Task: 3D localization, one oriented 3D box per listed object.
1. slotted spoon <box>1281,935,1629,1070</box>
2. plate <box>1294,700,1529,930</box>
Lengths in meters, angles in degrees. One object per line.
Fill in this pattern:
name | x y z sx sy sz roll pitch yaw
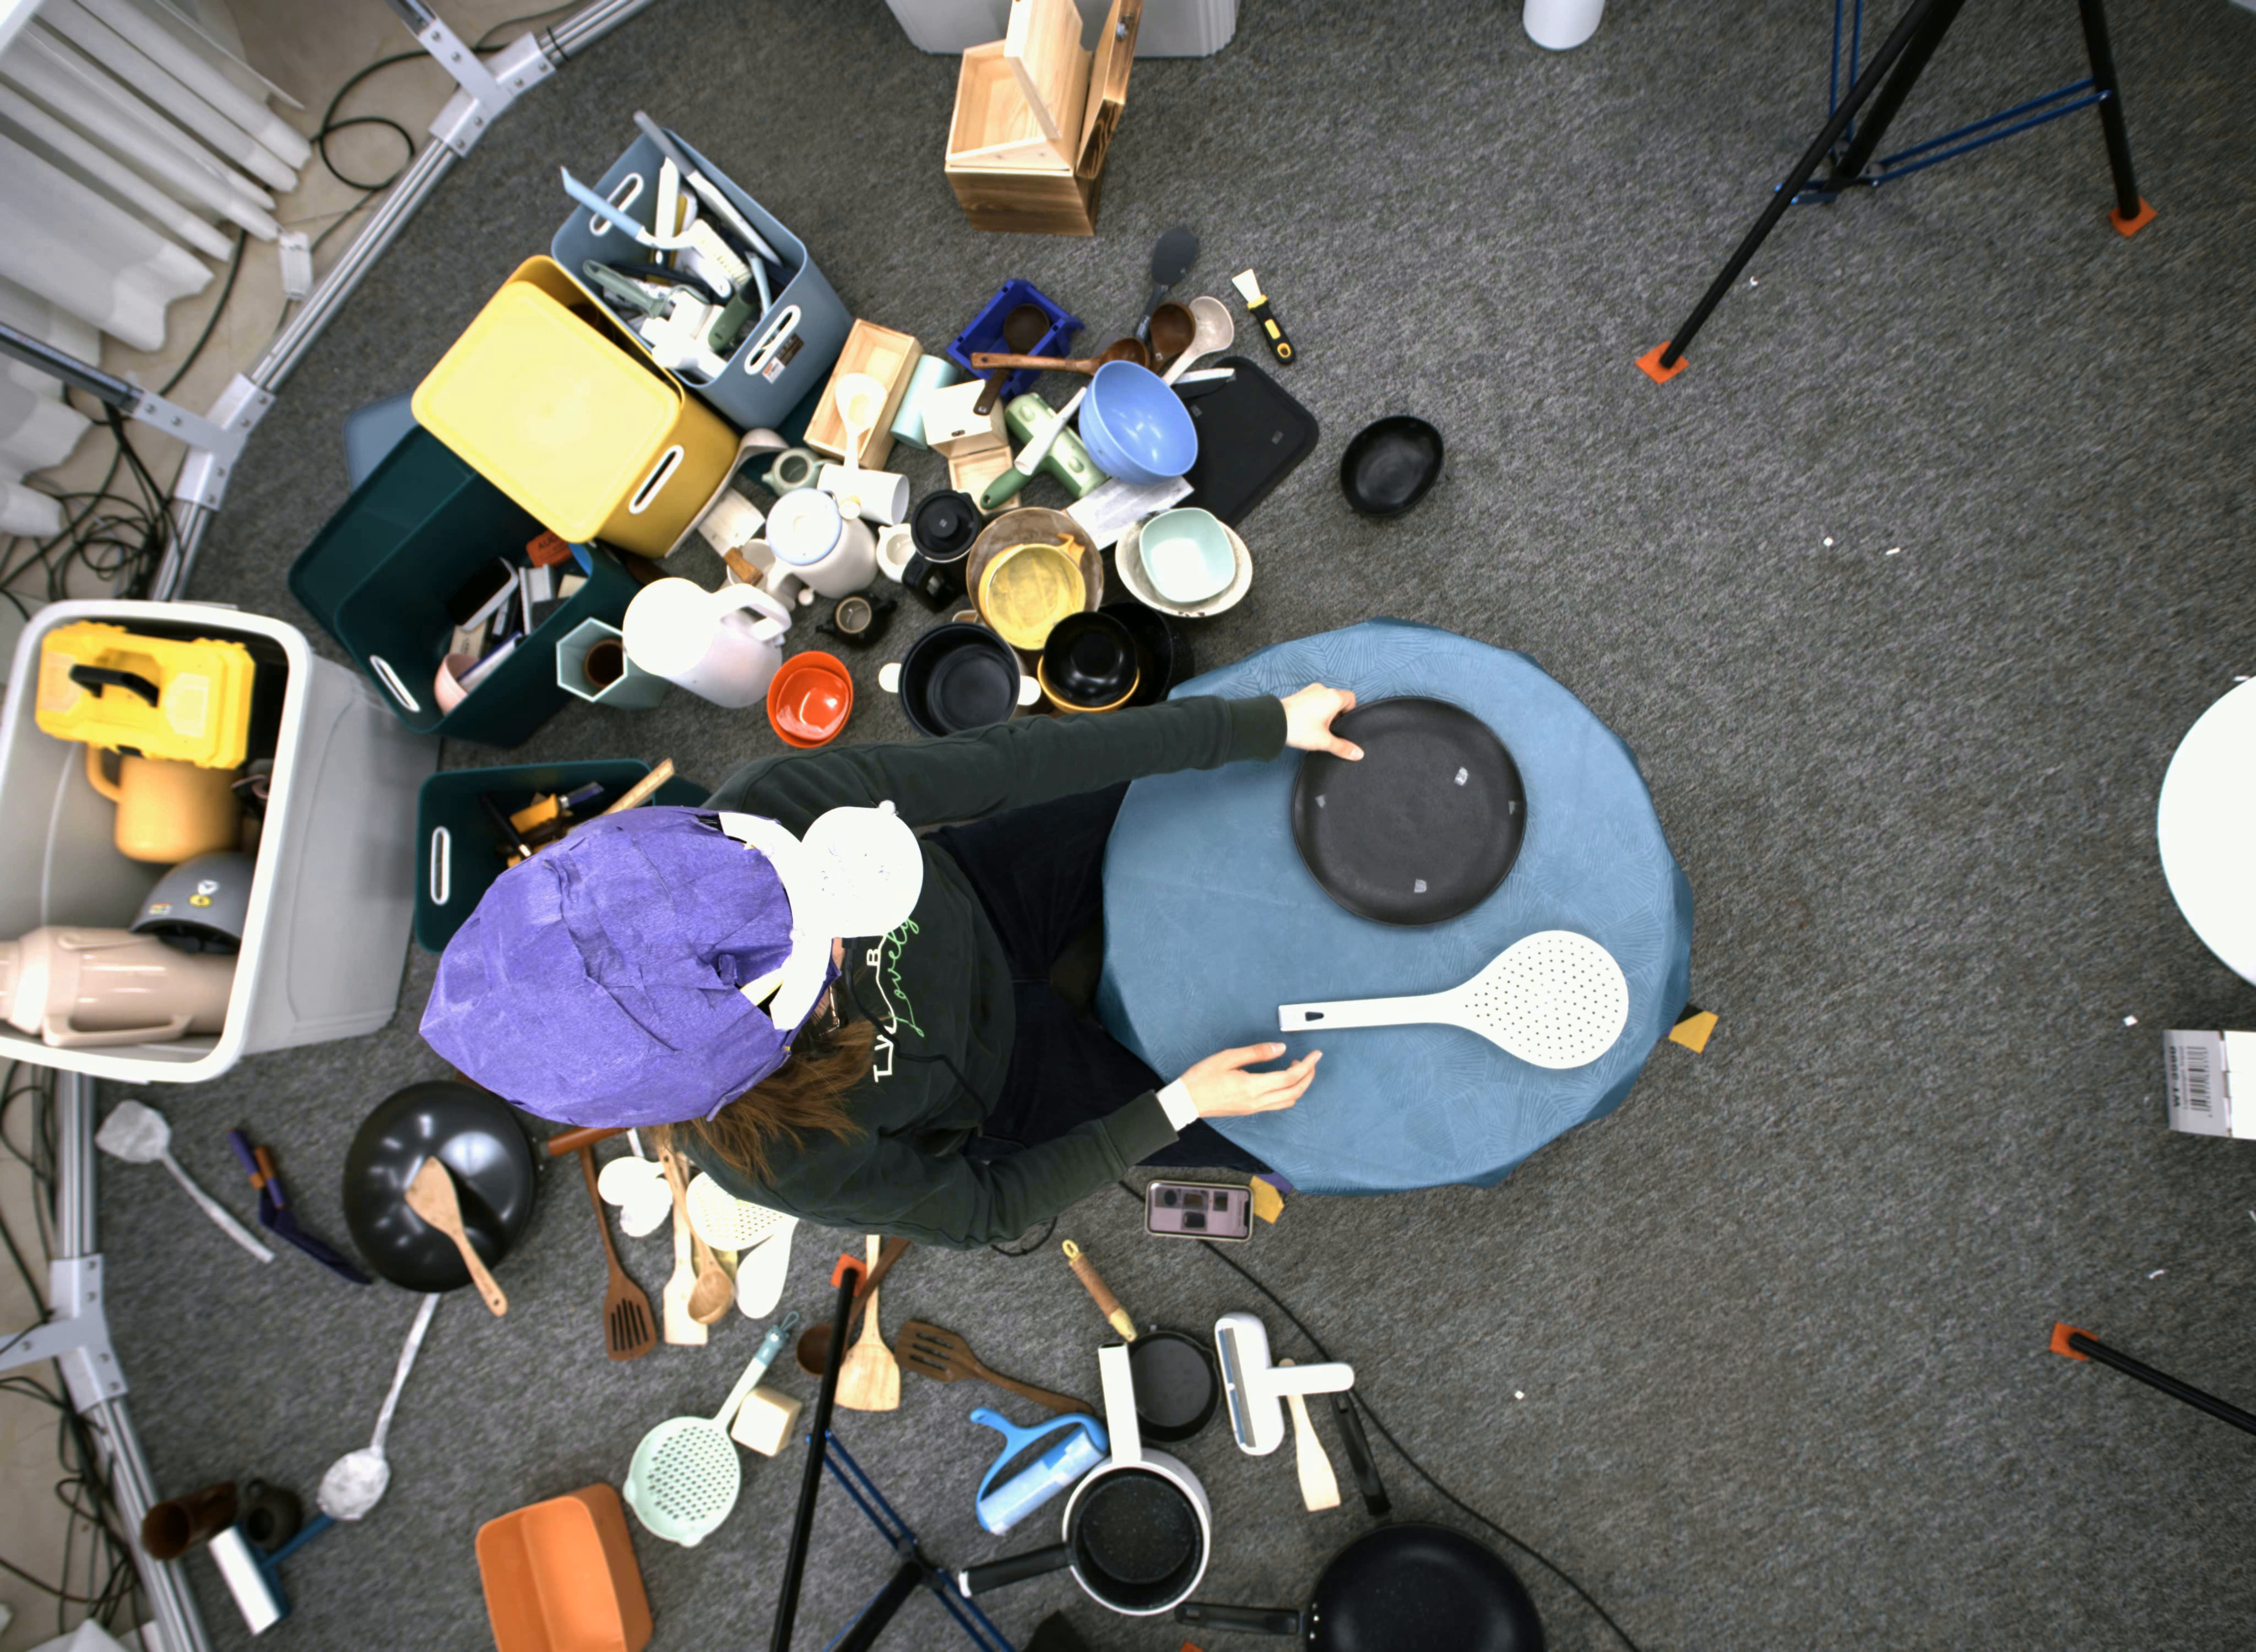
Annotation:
slotted spoon | 0.332 0.187 1.423 0.351 0.046 0.135 -5 83 11
plate | 0.297 -0.013 1.452 0.245 0.023 0.243 -1 87 10
